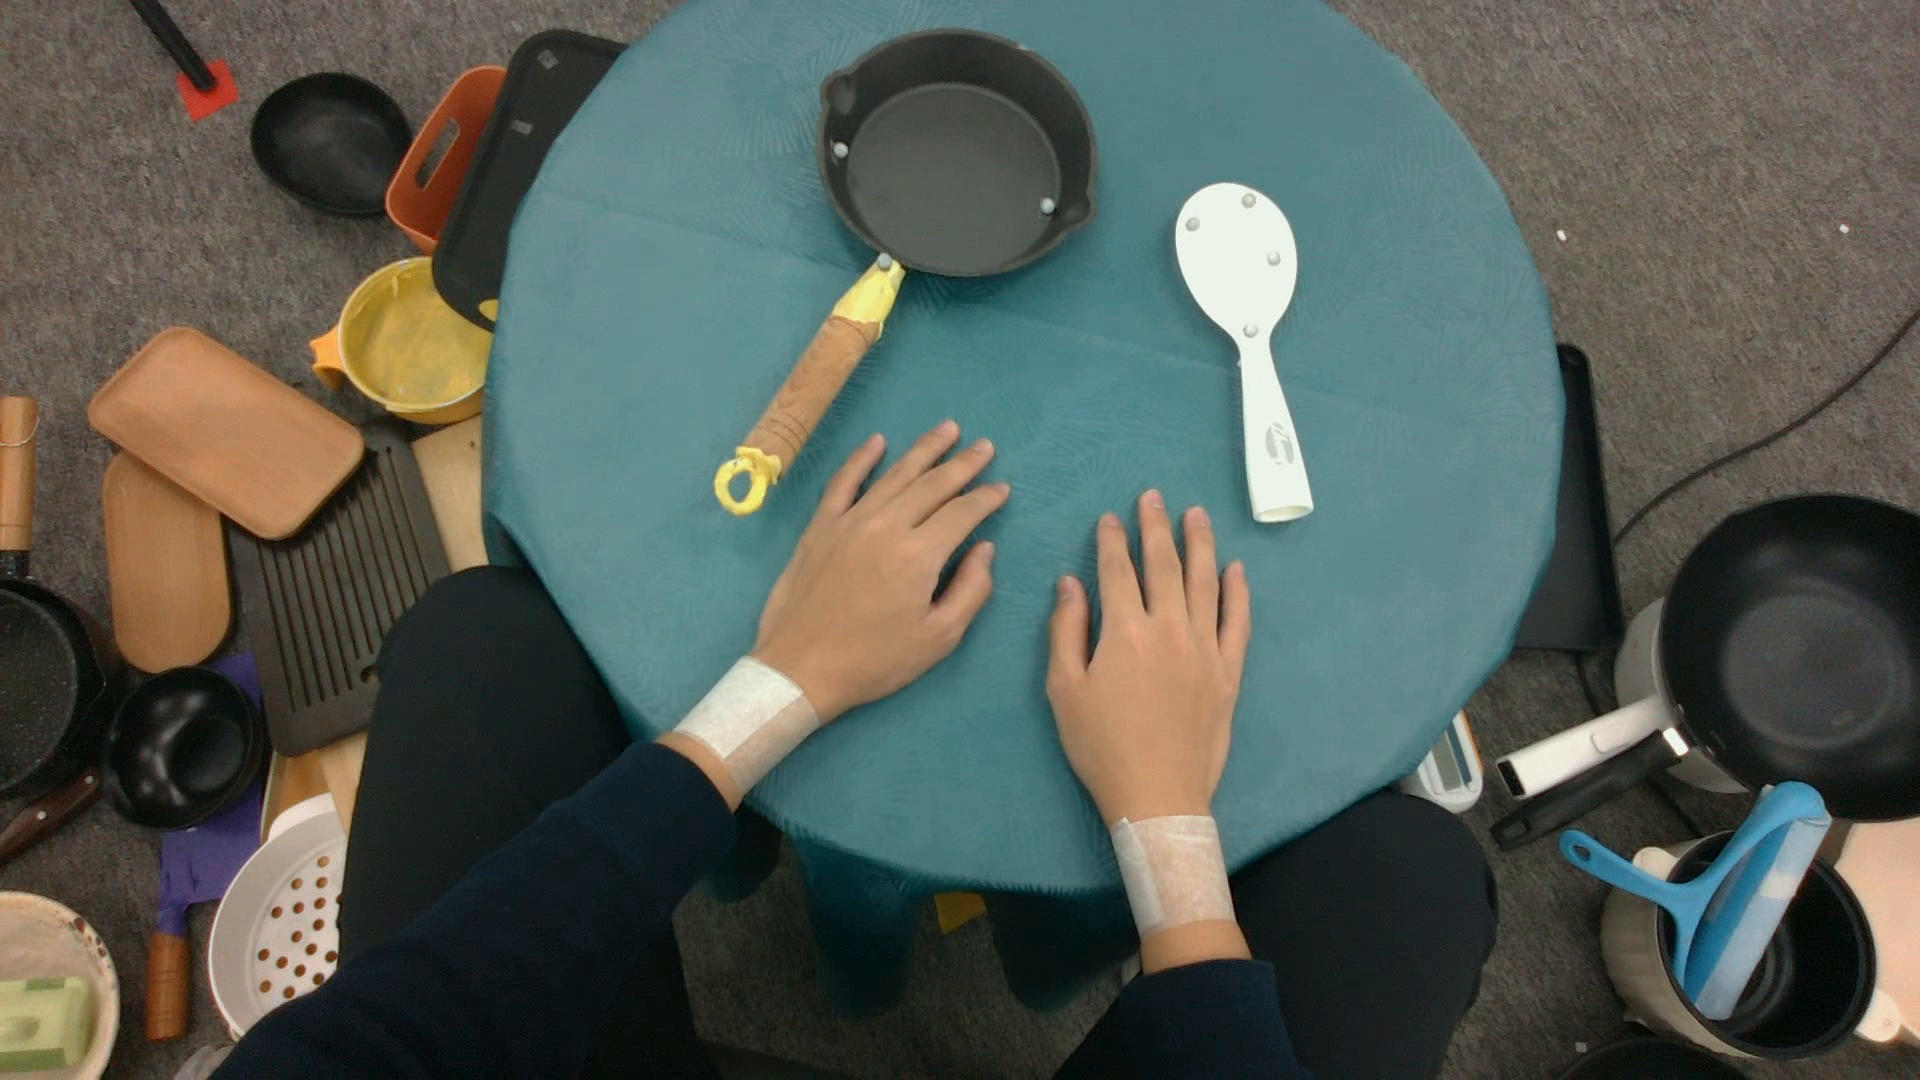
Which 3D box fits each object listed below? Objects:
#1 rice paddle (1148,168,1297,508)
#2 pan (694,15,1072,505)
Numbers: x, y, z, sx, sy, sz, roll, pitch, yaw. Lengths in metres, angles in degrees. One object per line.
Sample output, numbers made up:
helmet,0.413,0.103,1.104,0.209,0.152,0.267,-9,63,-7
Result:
rice paddle,0.150,-0.119,0.767,0.069,0.029,0.205,-6,74,-9
pan,-0.055,-0.152,0.746,0.169,0.049,0.325,28,71,3
